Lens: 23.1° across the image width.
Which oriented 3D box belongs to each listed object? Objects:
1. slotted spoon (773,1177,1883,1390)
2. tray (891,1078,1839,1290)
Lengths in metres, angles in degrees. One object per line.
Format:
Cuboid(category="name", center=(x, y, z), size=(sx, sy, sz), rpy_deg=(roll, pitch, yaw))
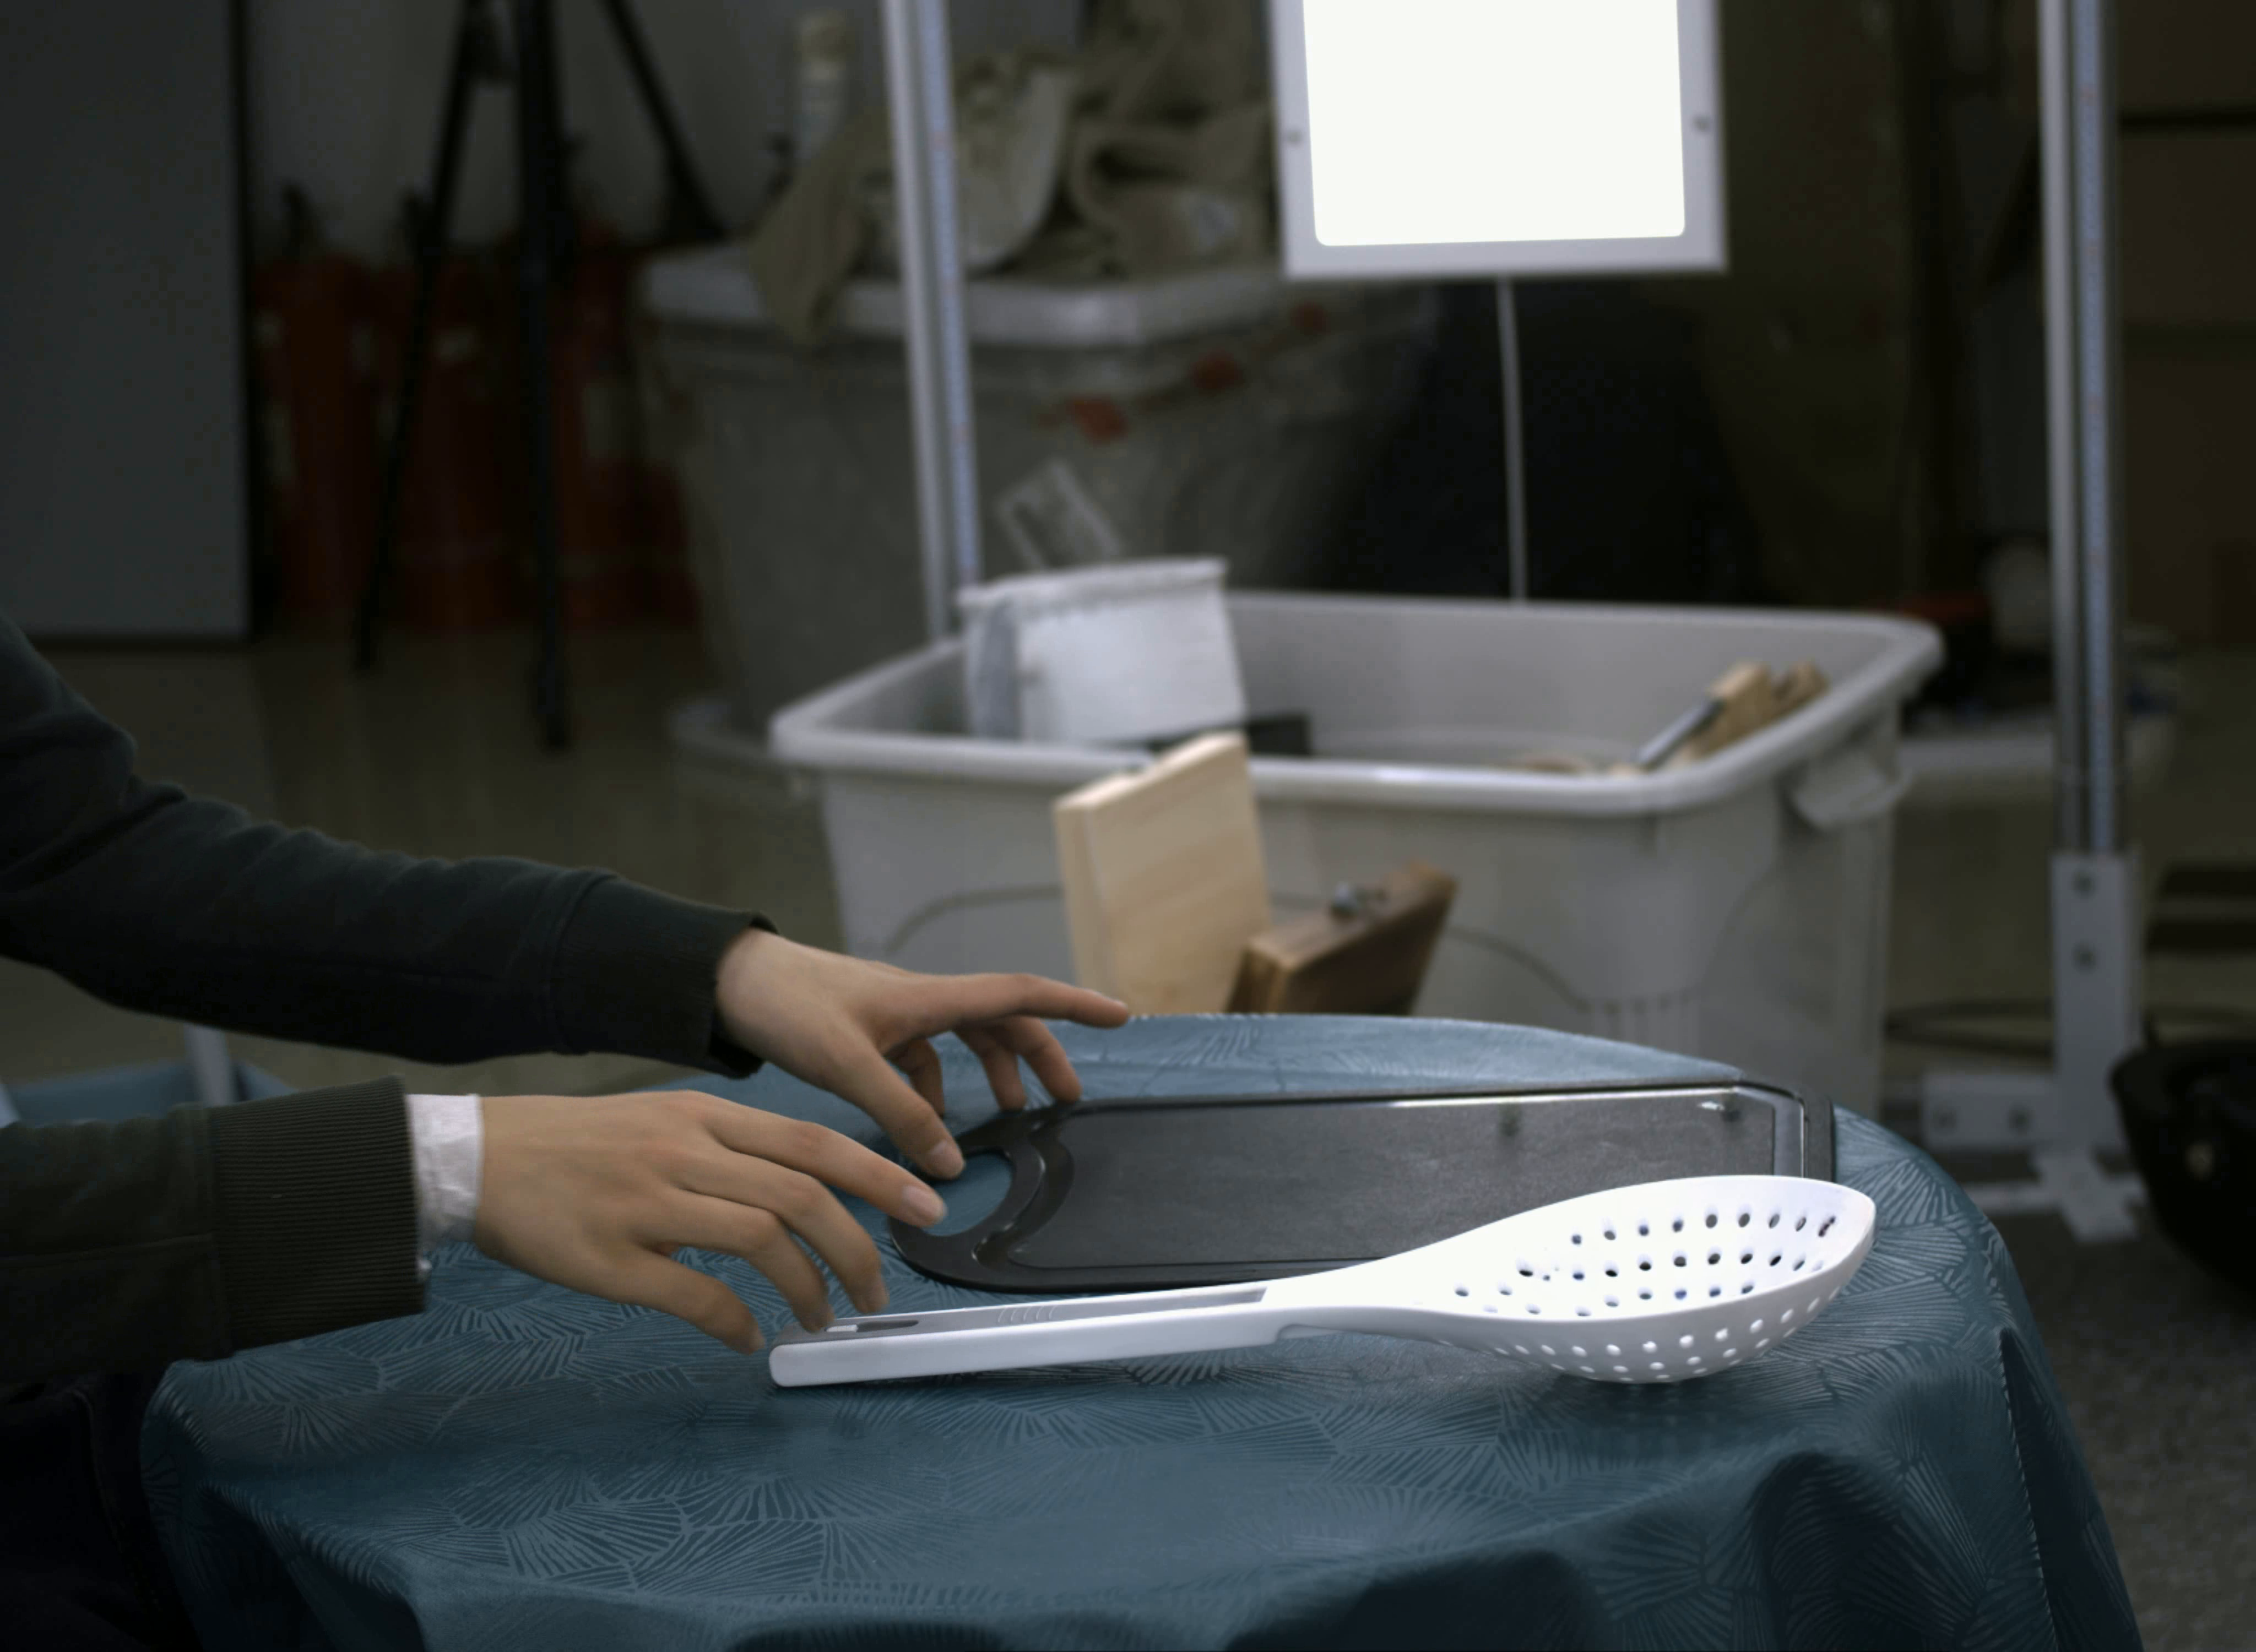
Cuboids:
Cuboid(category="slotted spoon", center=(0.059, 0.147, 1.697), size=(0.352, 0.046, 0.134), rpy_deg=(-3, 12, 13))
Cuboid(category="tray", center=(0.081, 0.120, 1.882), size=(0.327, 0.010, 0.209), rpy_deg=(-3, 13, 10))
